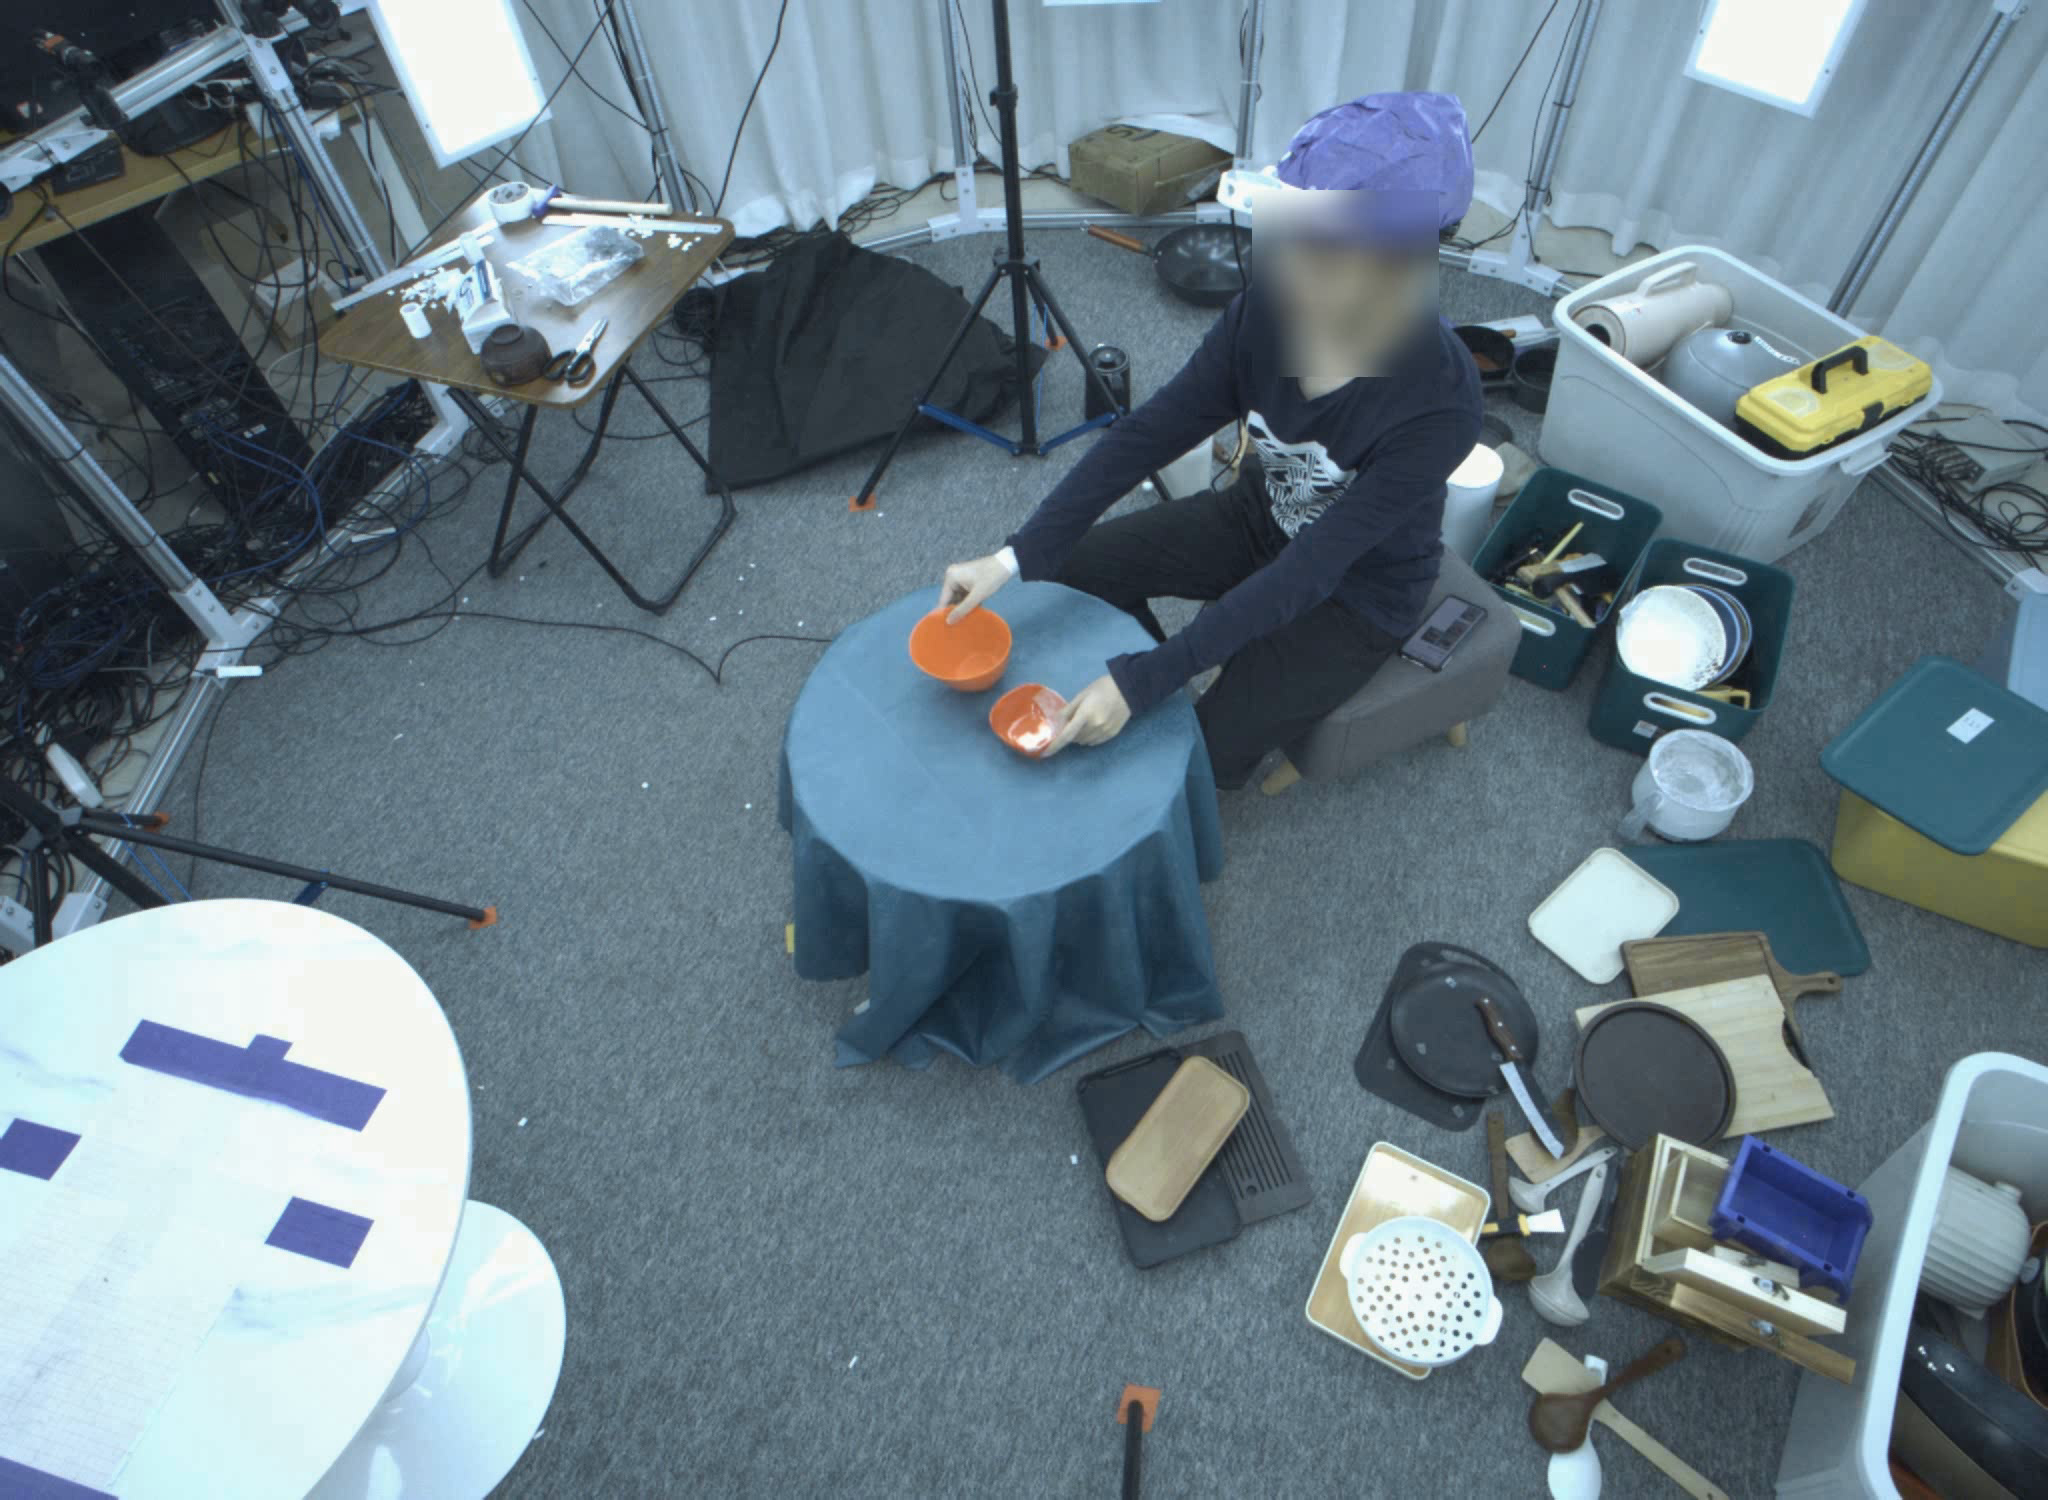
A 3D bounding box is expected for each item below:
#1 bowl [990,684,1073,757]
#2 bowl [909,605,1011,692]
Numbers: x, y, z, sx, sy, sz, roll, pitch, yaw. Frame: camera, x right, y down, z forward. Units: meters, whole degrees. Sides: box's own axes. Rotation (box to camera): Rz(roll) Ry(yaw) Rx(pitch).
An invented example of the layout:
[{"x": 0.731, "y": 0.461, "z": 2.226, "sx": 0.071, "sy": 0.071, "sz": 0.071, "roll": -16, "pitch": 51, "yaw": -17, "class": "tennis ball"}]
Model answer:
[{"x": 0.012, "y": -0.036, "z": 1.789, "sx": 0.119, "sy": 0.052, "sz": 0.117, "roll": -1, "pitch": 54, "yaw": 3, "class": "bowl"}, {"x": -0.087, "y": -0.137, "z": 1.831, "sx": 0.147, "sy": 0.106, "sz": 0.146, "roll": -5, "pitch": 57, "yaw": 8, "class": "bowl"}]
